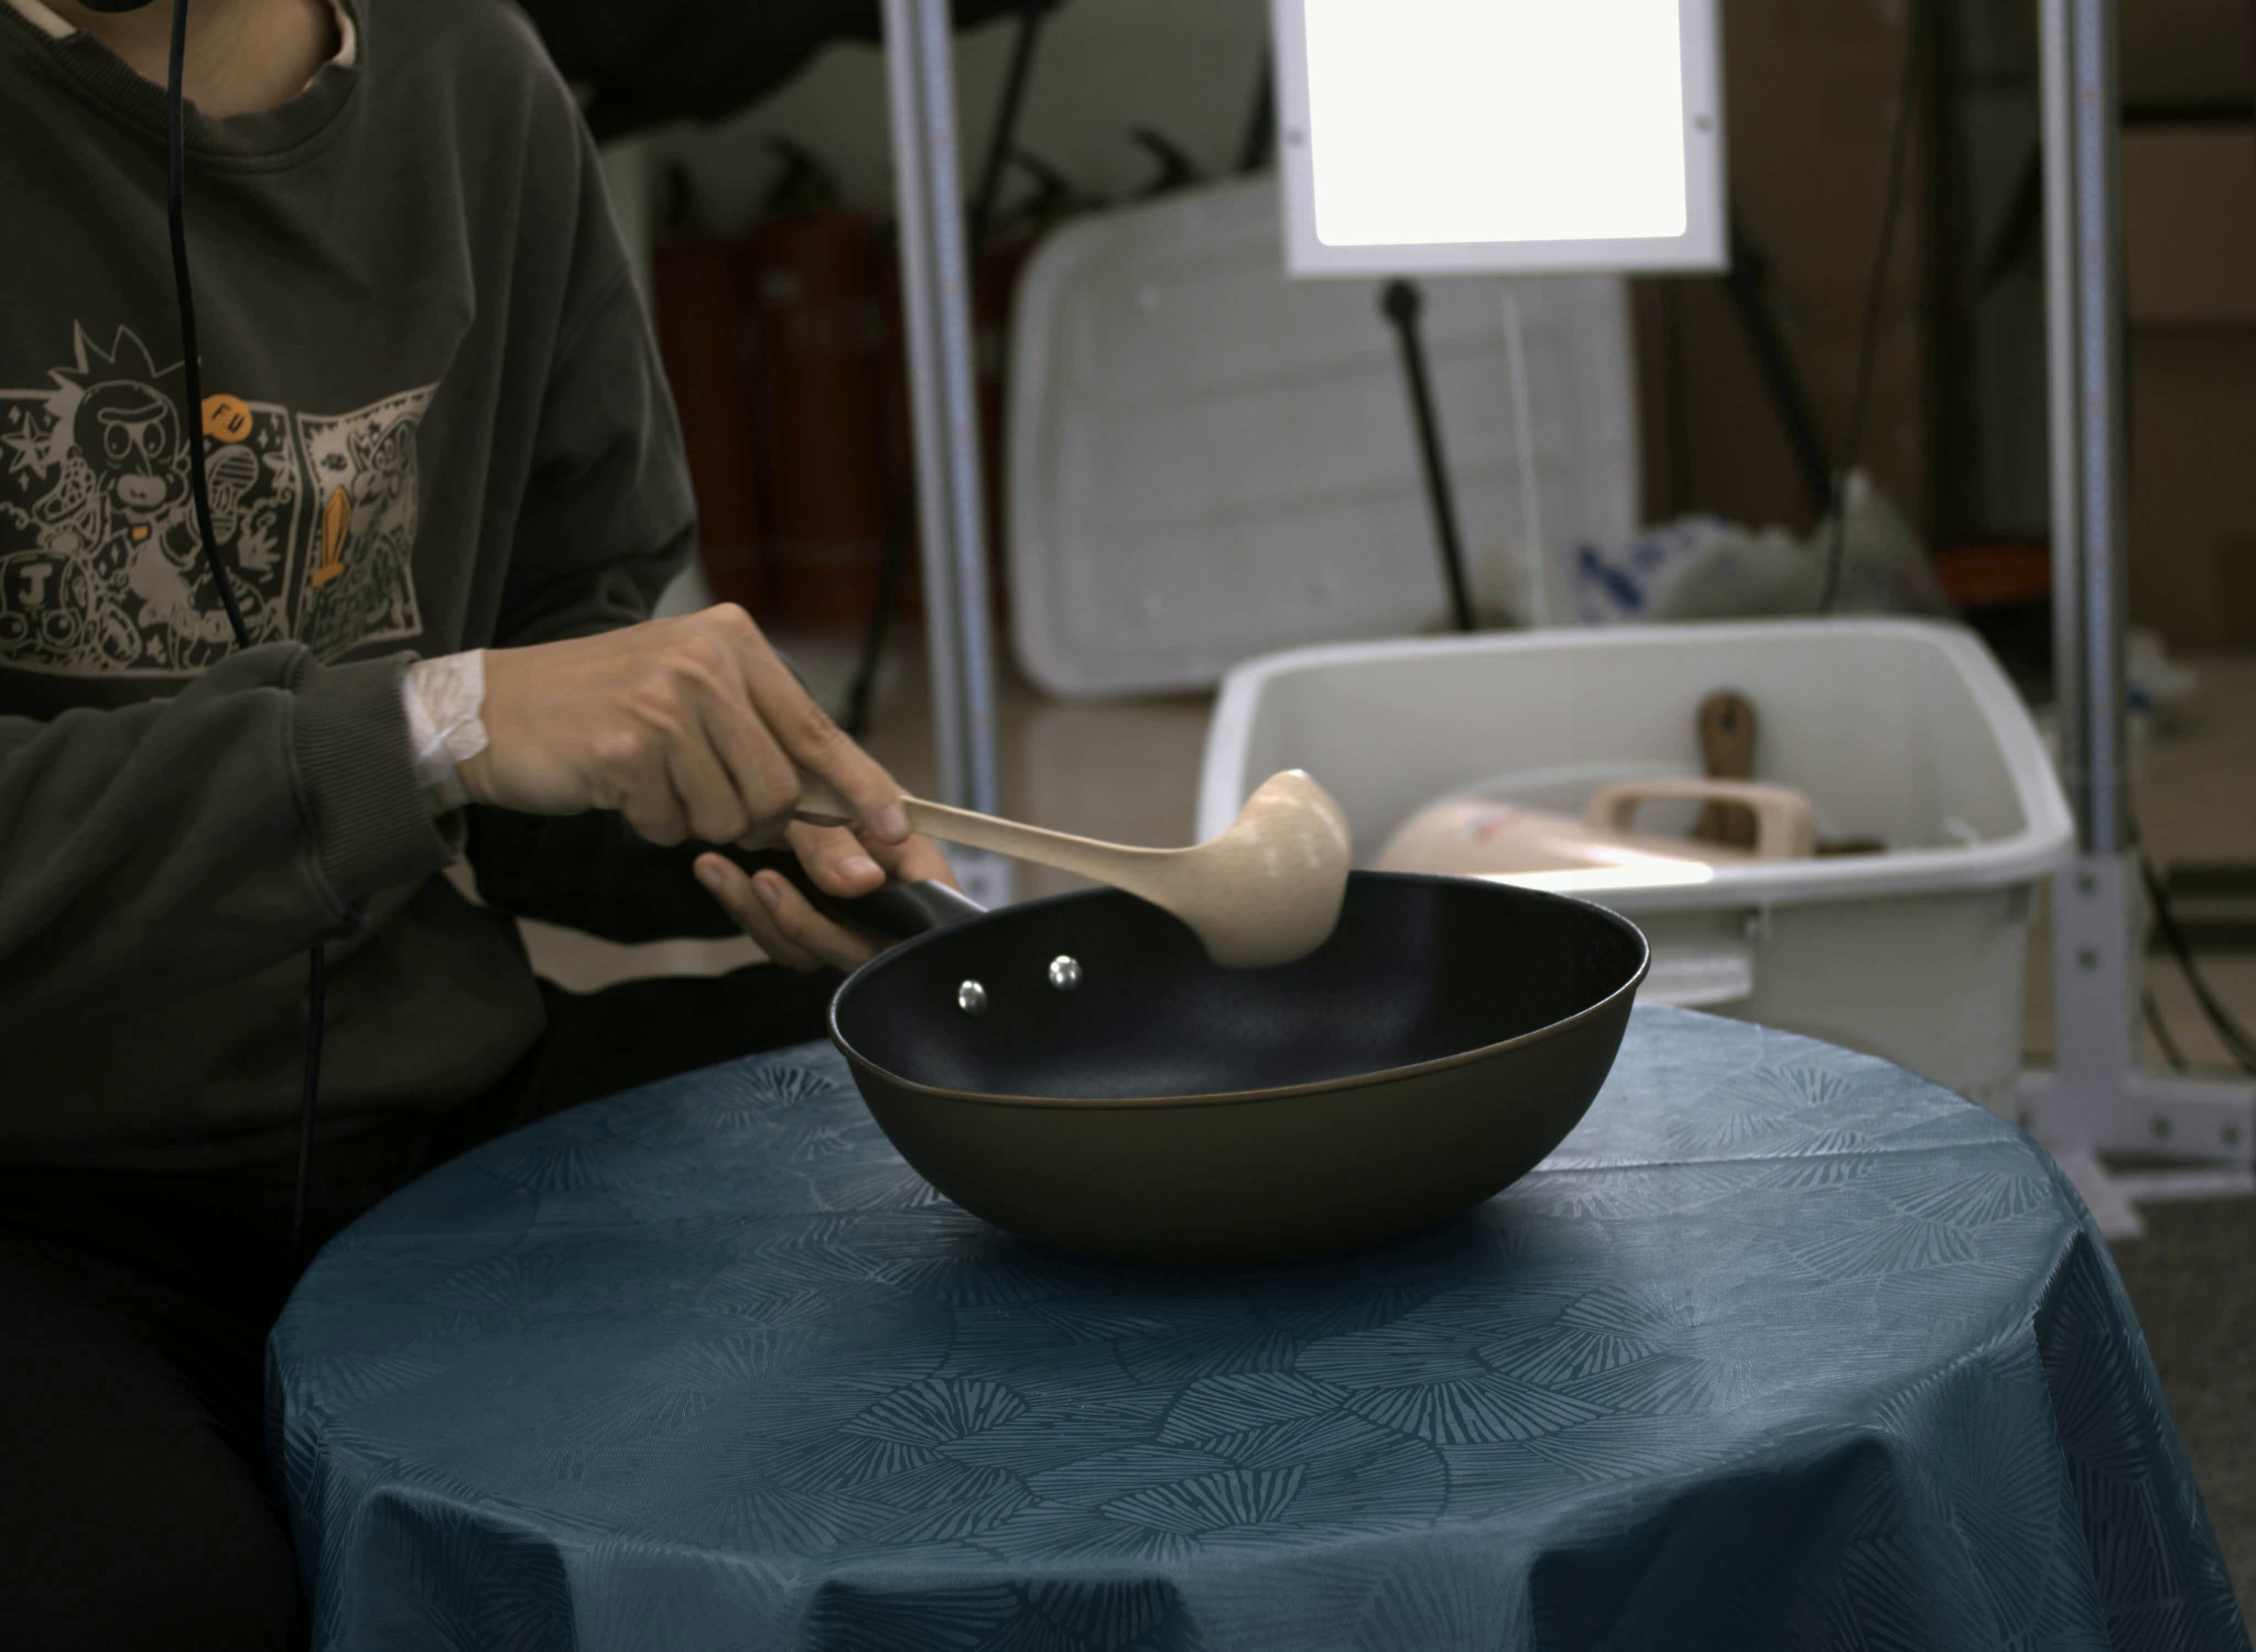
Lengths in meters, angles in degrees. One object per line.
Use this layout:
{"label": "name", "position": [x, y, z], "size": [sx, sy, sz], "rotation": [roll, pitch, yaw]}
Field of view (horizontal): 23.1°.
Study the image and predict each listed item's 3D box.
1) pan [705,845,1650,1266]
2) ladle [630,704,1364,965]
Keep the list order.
{"label": "pan", "position": [-0.017, 0.075, 1.938], "size": [0.281, 0.087, 0.473], "rotation": [-15, 16, -35]}
{"label": "ladle", "position": [-0.043, -0.016, 1.902], "size": [0.254, 0.073, 0.072], "rotation": [17, 29, 1]}
